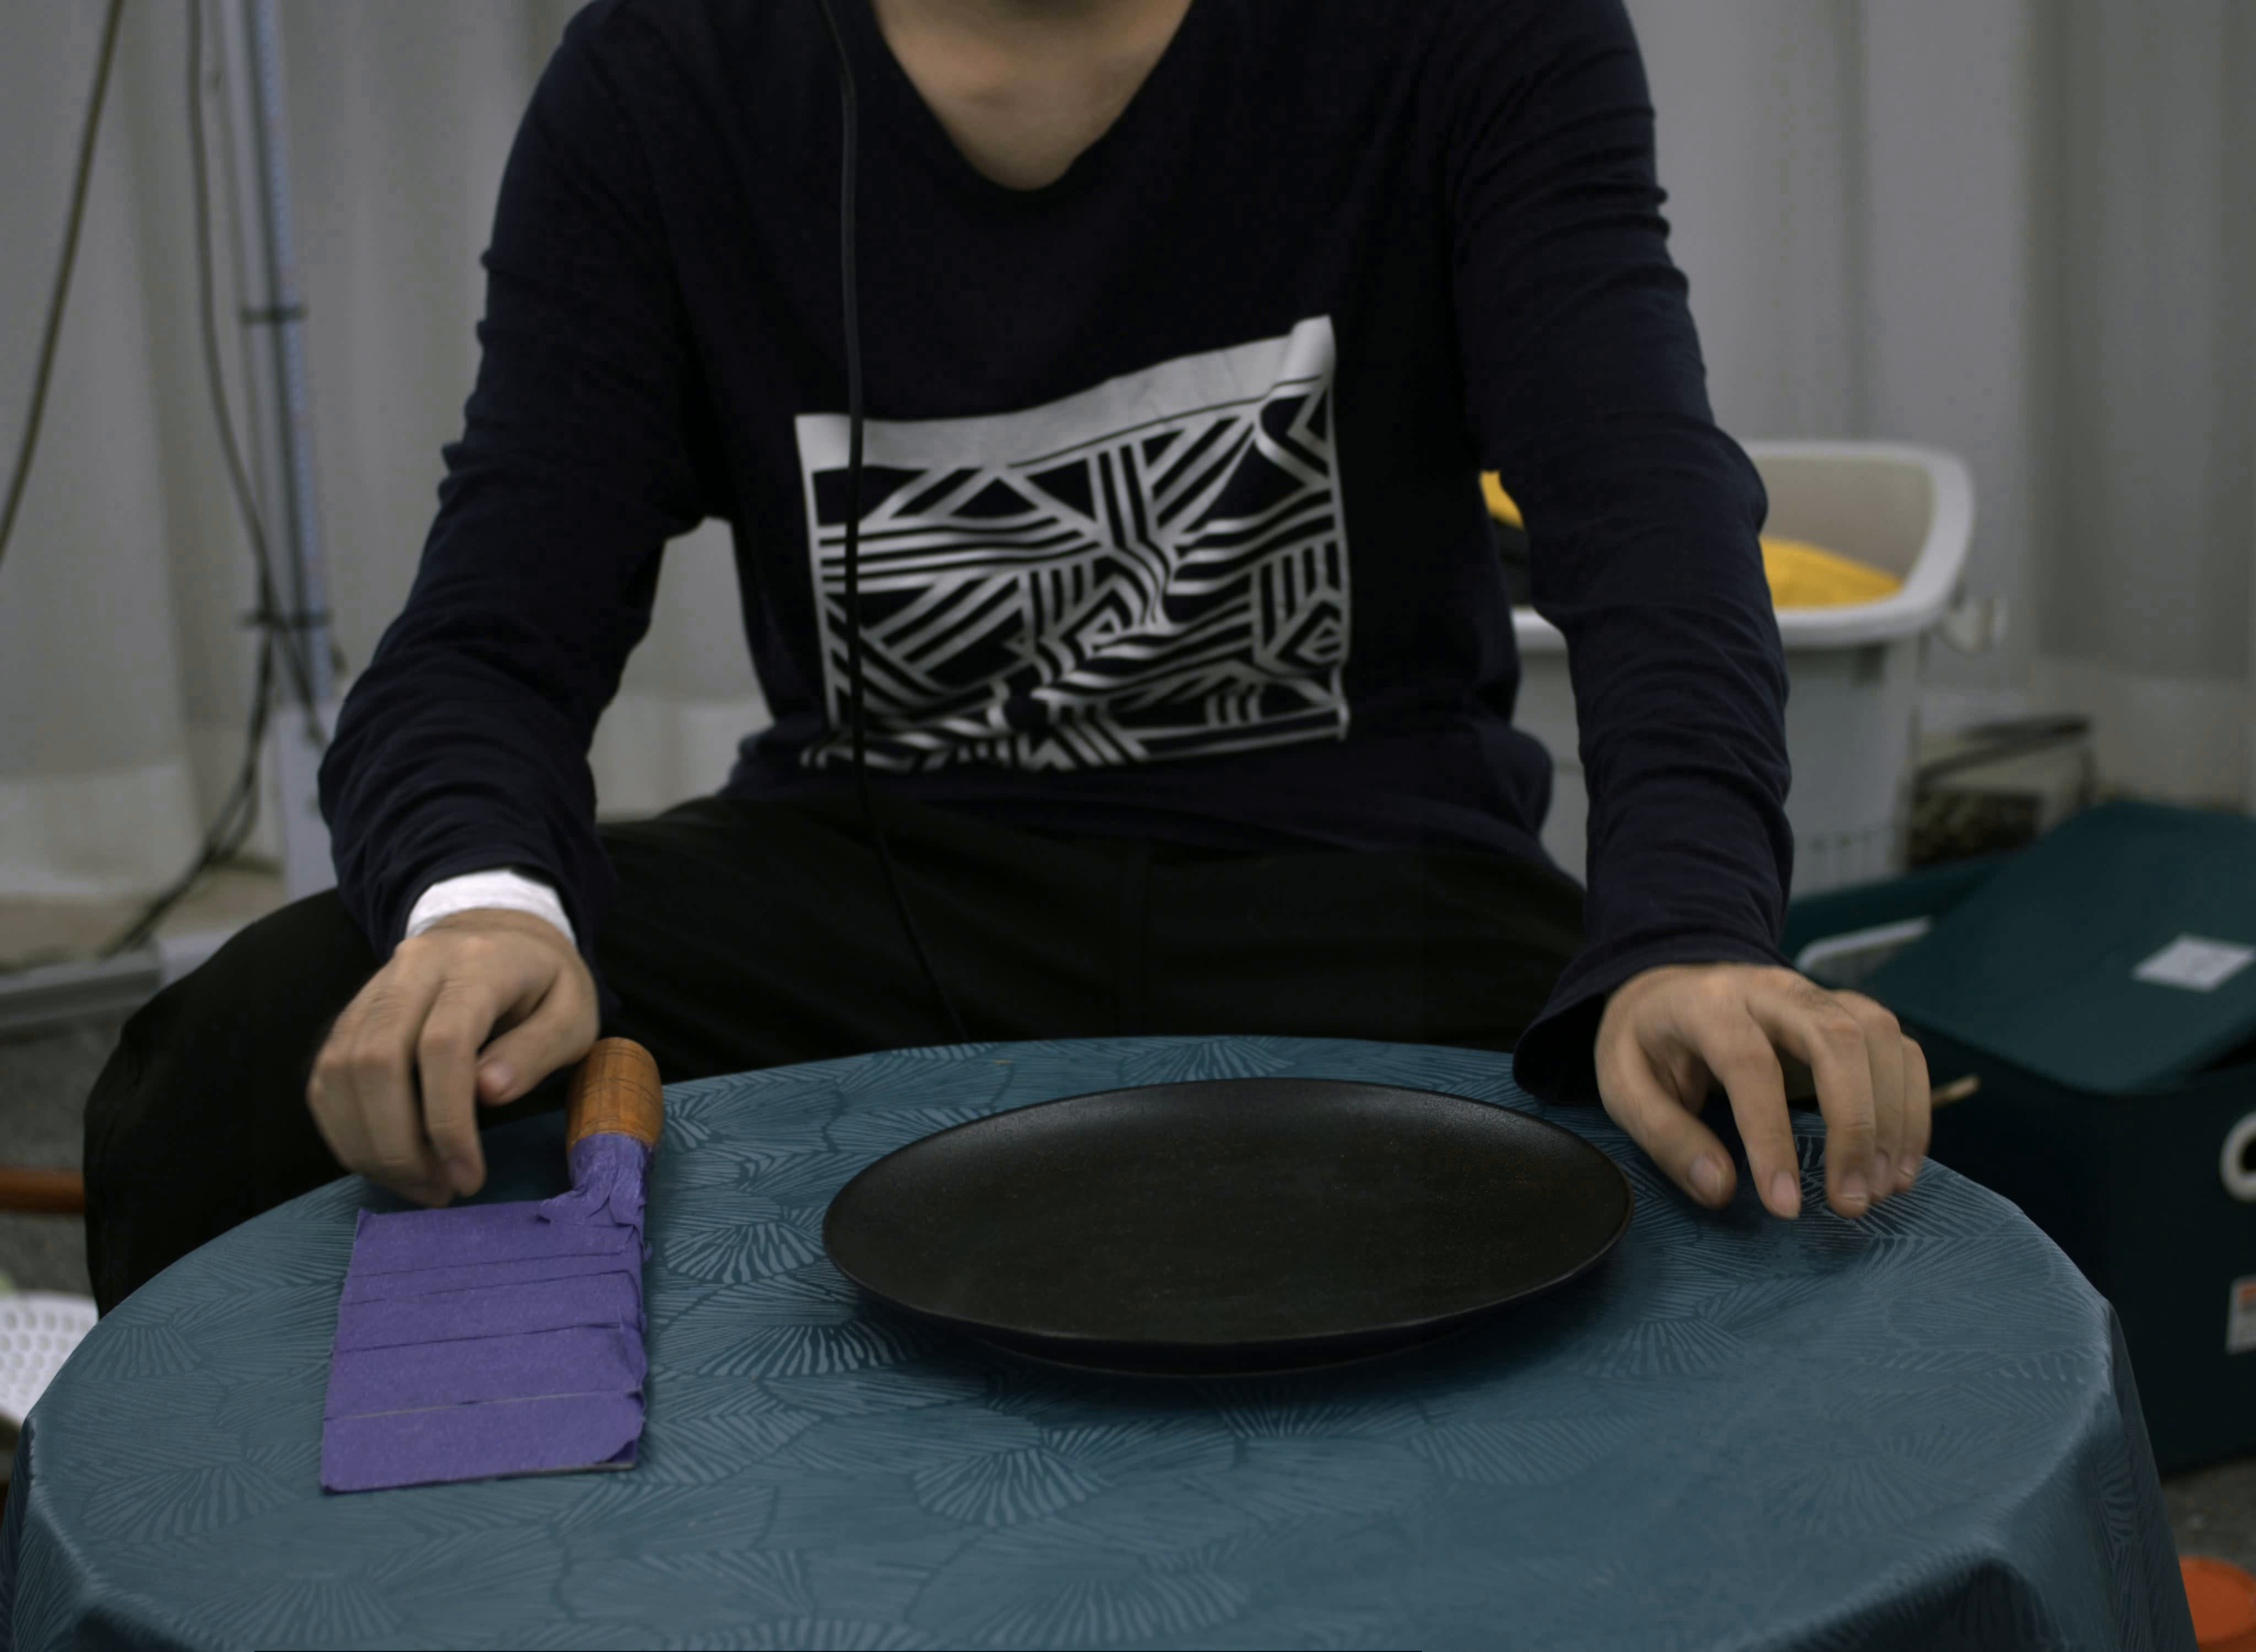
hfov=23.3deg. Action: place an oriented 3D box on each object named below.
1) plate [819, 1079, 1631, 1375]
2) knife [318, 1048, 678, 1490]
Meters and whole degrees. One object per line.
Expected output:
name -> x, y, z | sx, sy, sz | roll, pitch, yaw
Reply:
plate -> 0.029, 0.123, 1.639 | 0.243, 0.023, 0.246 | -3, 15, 0
knife -> -0.189, 0.129, 1.646 | 0.103, 0.032, 0.317 | -4, 15, -4
